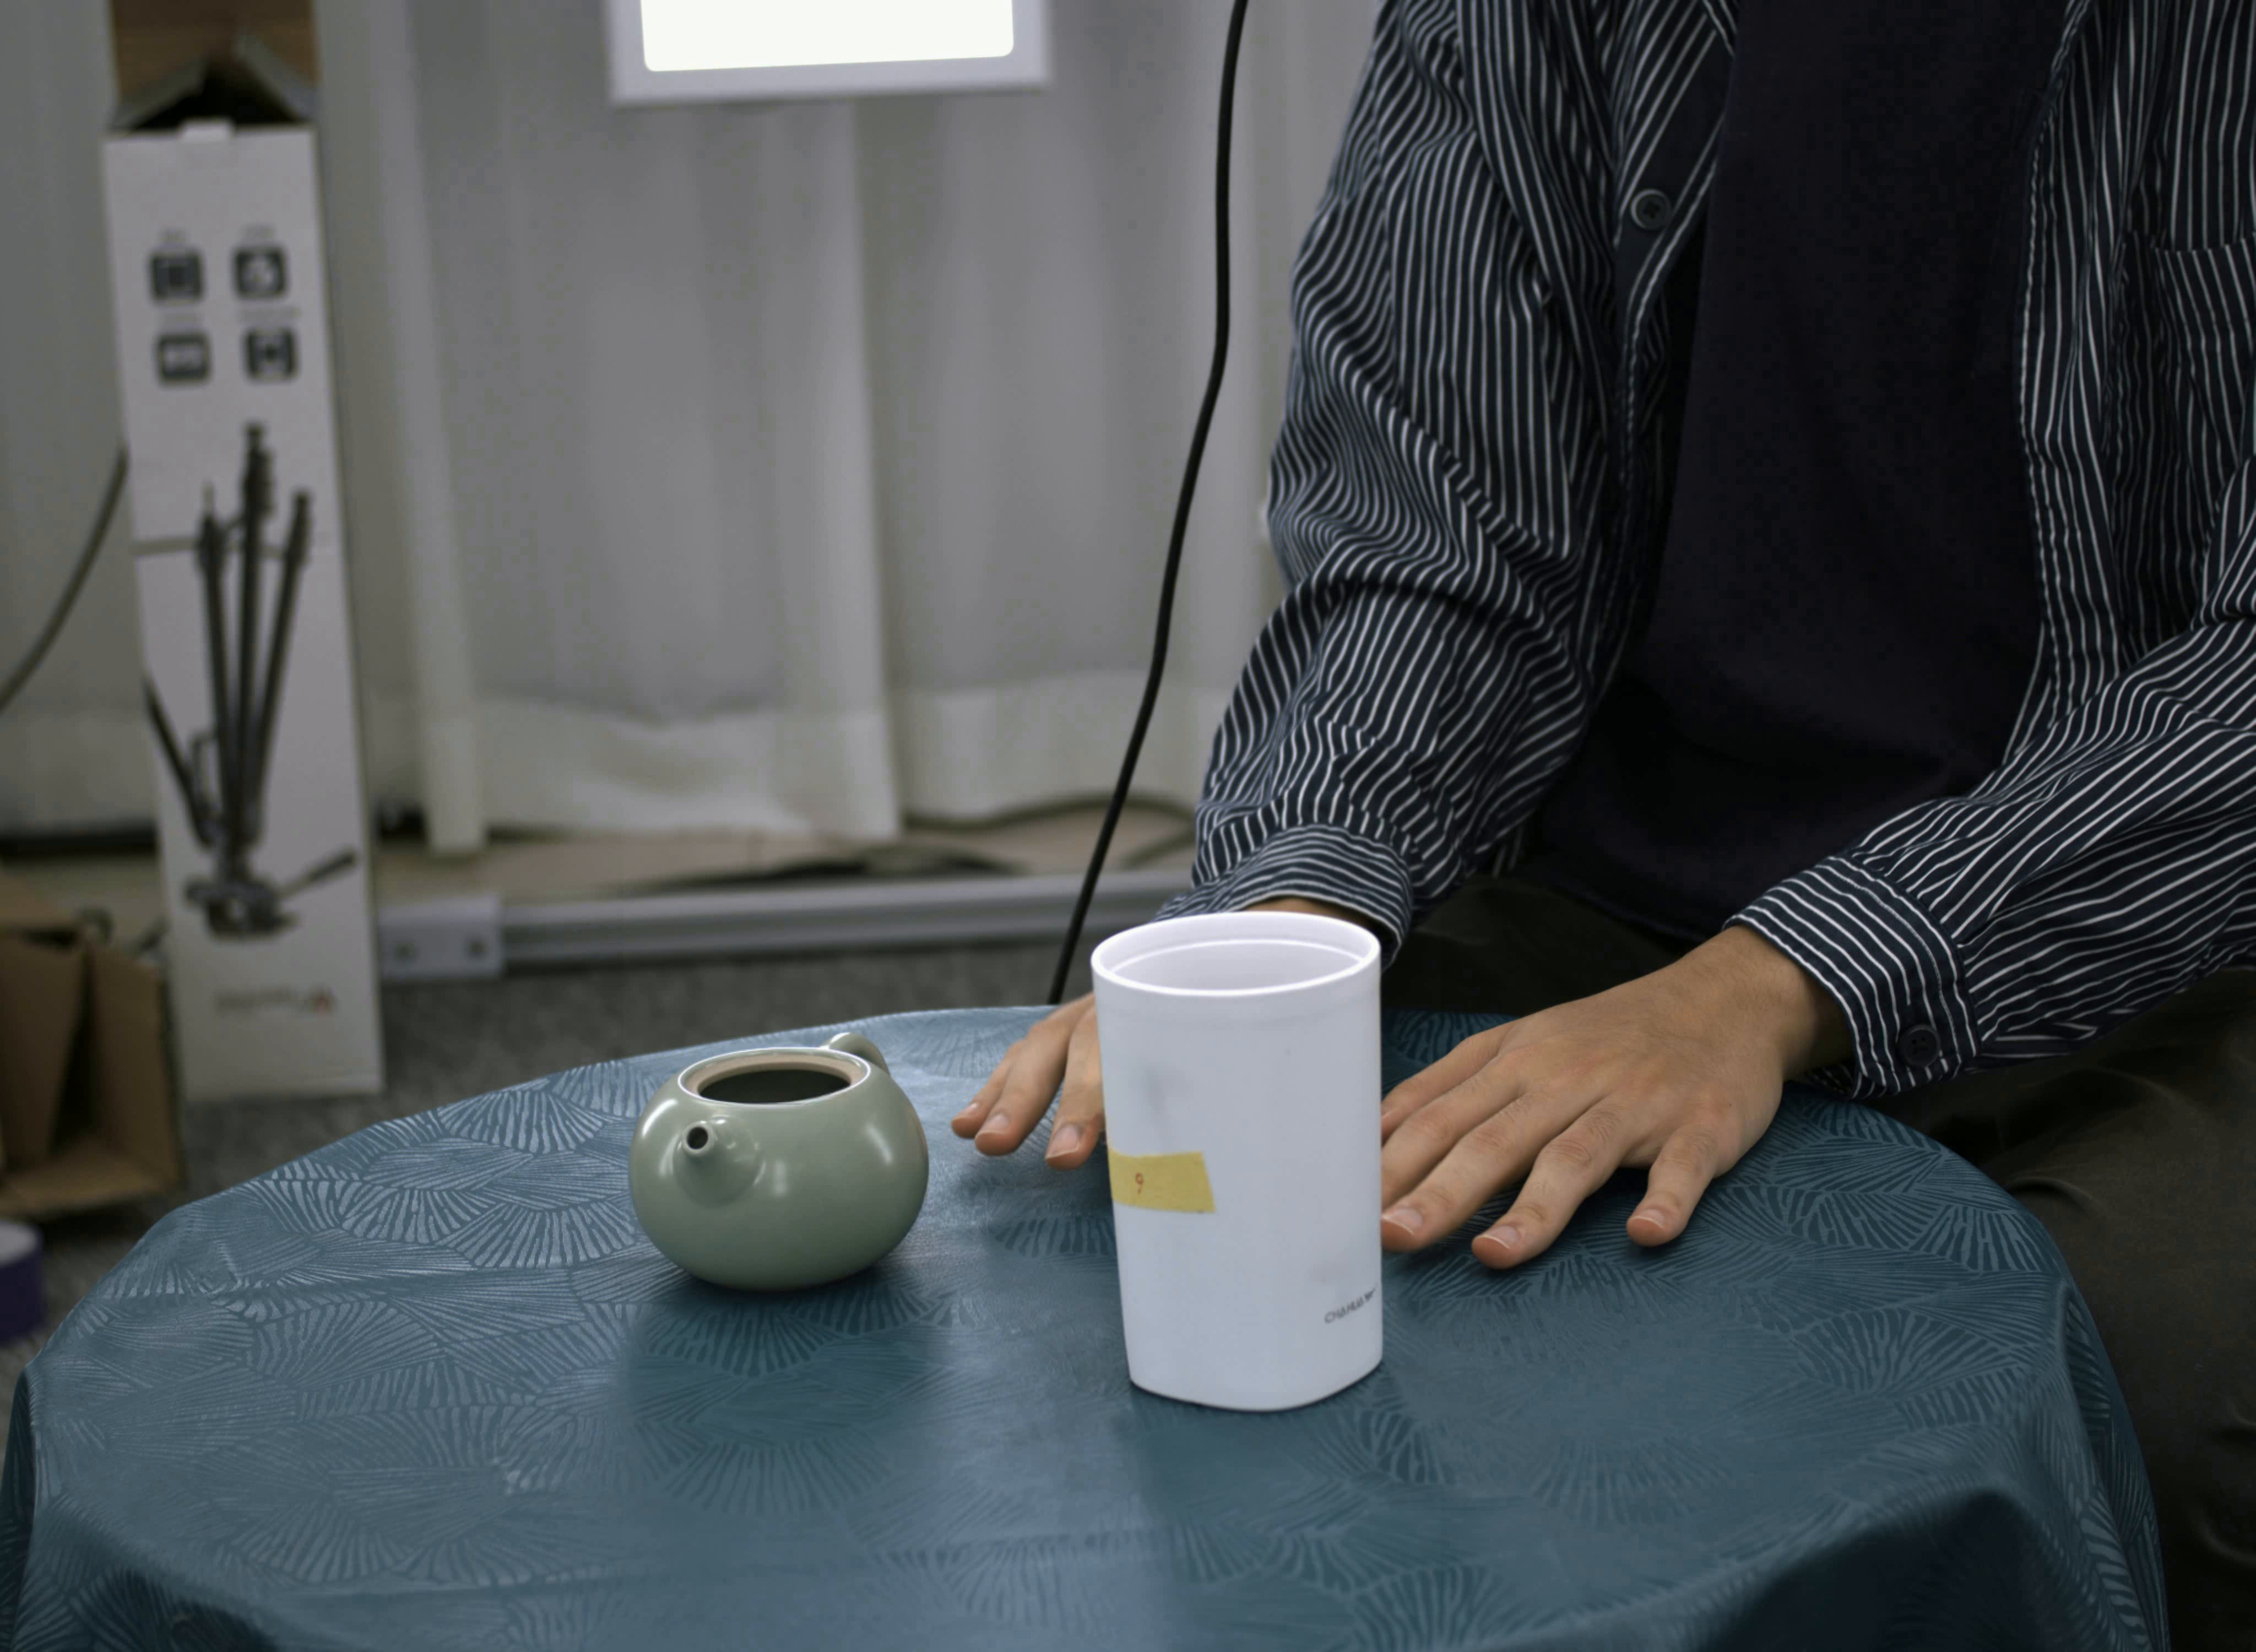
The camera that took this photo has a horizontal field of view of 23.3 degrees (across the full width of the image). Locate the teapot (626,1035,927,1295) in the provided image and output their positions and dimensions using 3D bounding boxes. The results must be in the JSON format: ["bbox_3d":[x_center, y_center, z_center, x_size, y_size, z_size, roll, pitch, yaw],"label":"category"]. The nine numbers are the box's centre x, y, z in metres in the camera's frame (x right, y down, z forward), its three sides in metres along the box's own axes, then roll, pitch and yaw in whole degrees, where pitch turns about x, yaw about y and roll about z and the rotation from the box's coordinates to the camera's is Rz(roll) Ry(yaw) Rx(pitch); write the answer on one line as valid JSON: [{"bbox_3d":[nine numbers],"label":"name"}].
[{"bbox_3d":[-0.102,0.103,1.669,0.091,0.061,0.128,3,15,28],"label":"teapot"}]

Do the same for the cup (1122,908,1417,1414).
[{"bbox_3d":[0.042,0.094,1.533,0.081,0.125,0.082,-3,14,1],"label":"cup"}]
